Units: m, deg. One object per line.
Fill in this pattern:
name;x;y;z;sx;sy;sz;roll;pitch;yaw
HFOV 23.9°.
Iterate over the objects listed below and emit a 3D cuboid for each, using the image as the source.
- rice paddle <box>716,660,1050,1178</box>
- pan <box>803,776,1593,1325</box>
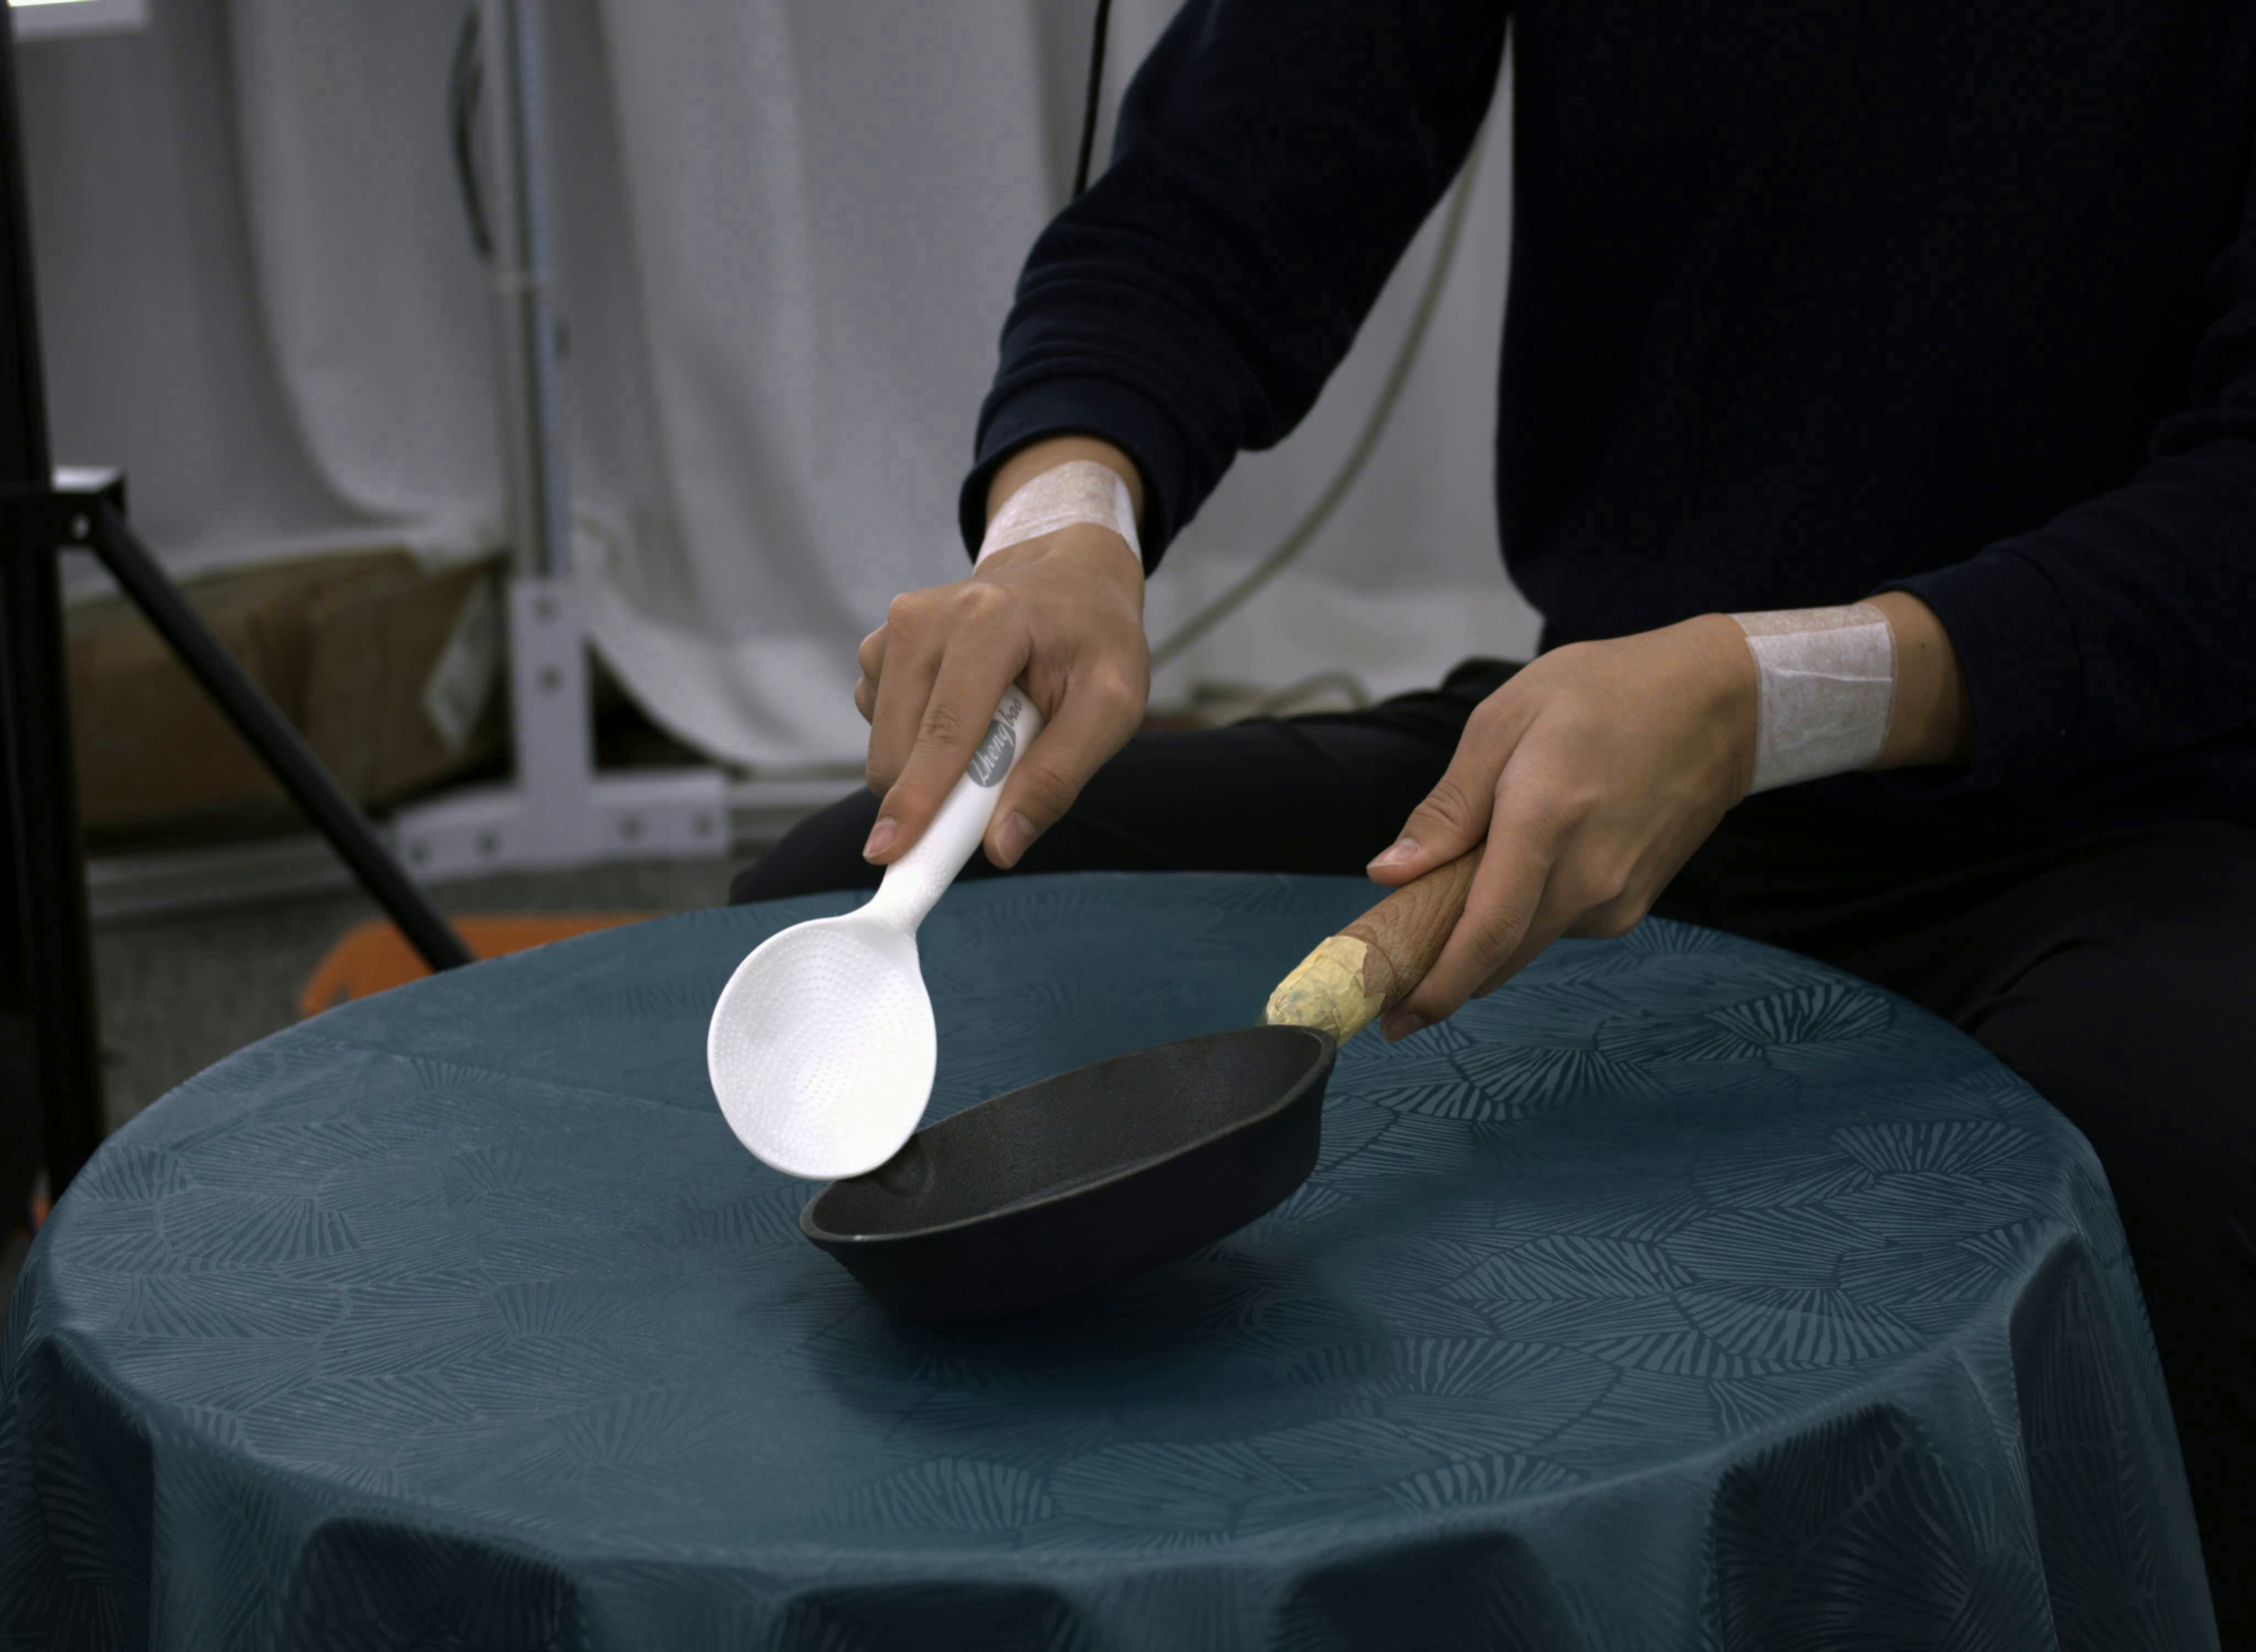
rice paddle;-0.067;0.026;1.567;0.068;0.030;0.205;32;45;-8
pan;0.042;0.063;1.524;0.318;0.049;0.172;-28;13;-40
